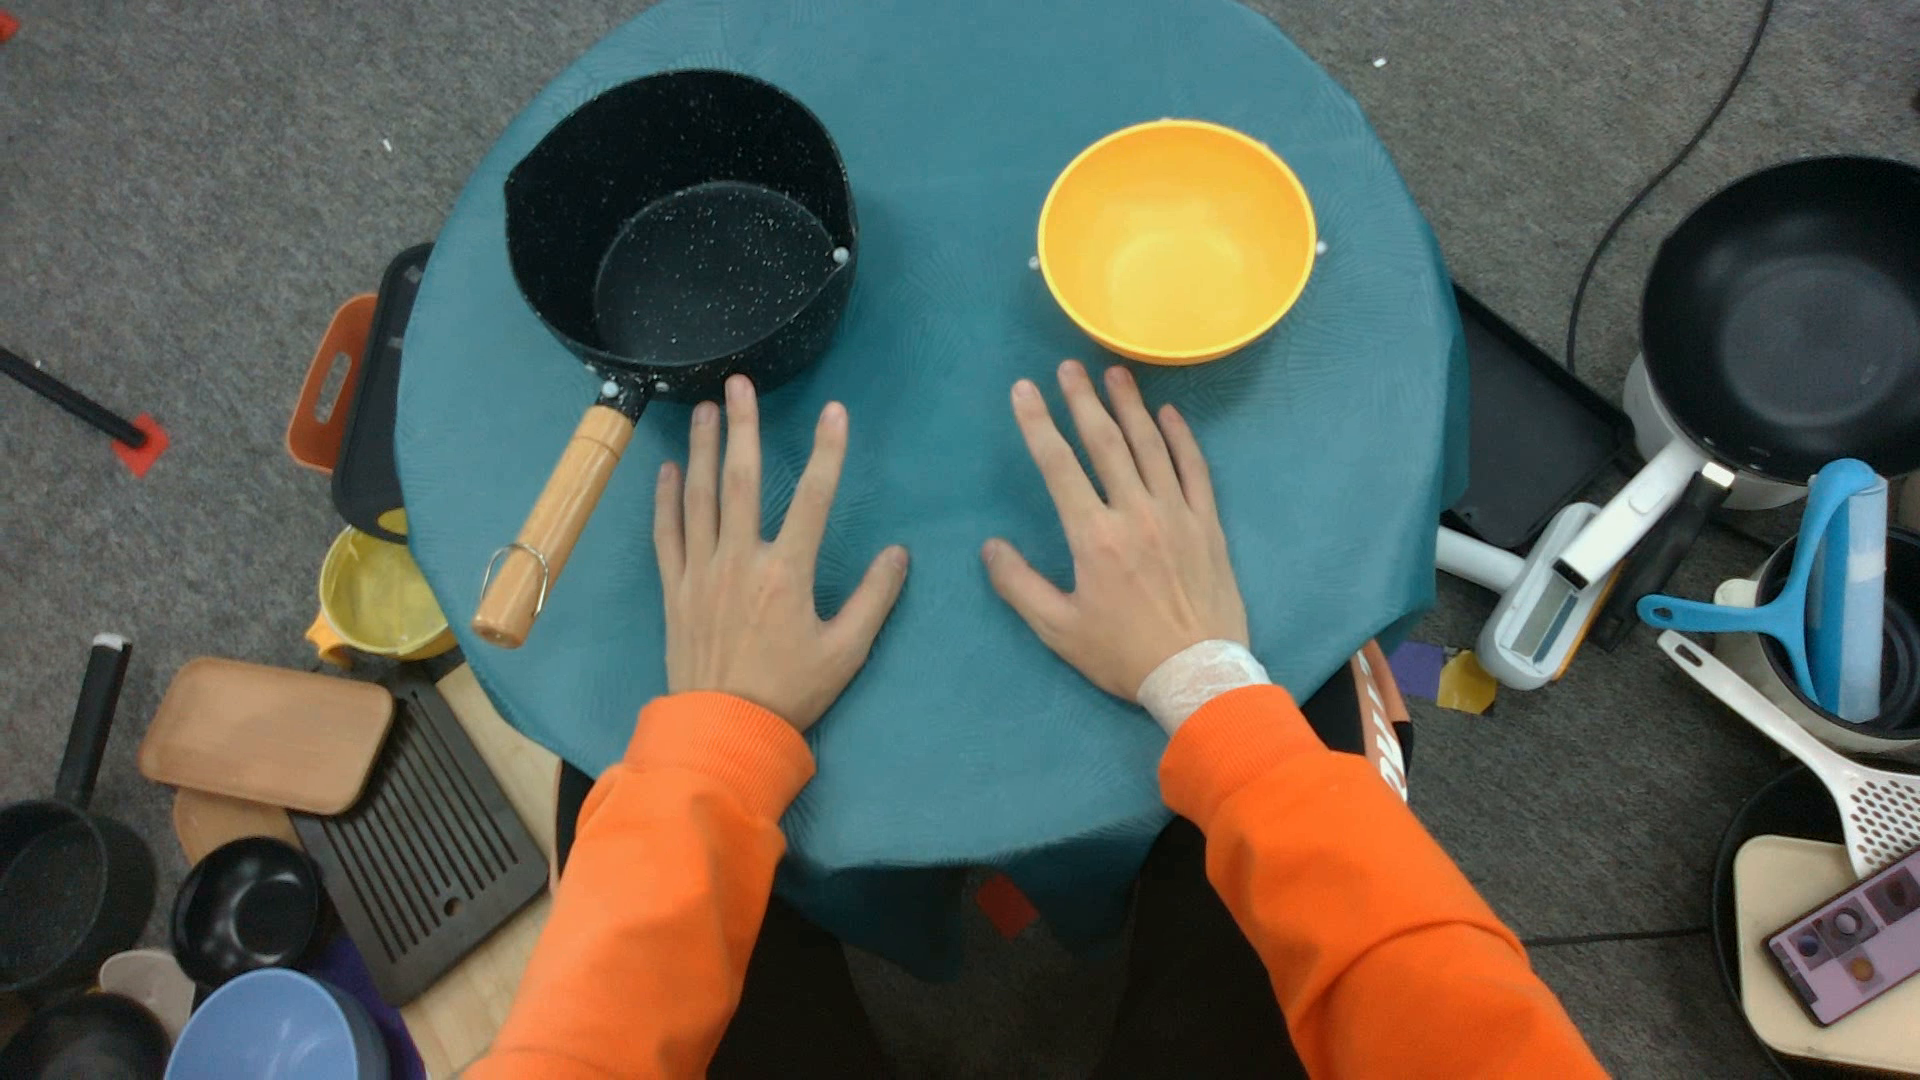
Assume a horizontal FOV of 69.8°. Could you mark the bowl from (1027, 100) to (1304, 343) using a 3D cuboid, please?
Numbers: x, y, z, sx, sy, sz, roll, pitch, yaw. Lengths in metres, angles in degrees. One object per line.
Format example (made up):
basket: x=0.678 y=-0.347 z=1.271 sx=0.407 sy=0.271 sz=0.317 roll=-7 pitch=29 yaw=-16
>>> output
bowl: x=0.110 y=-0.163 z=0.751 sx=0.145 sy=0.060 sz=0.146 roll=-2 pitch=71 yaw=5

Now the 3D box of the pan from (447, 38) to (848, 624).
pan: x=-0.174 y=-0.104 z=0.726 sx=0.207 sy=0.108 sz=0.344 roll=13 pitch=71 yaw=8
